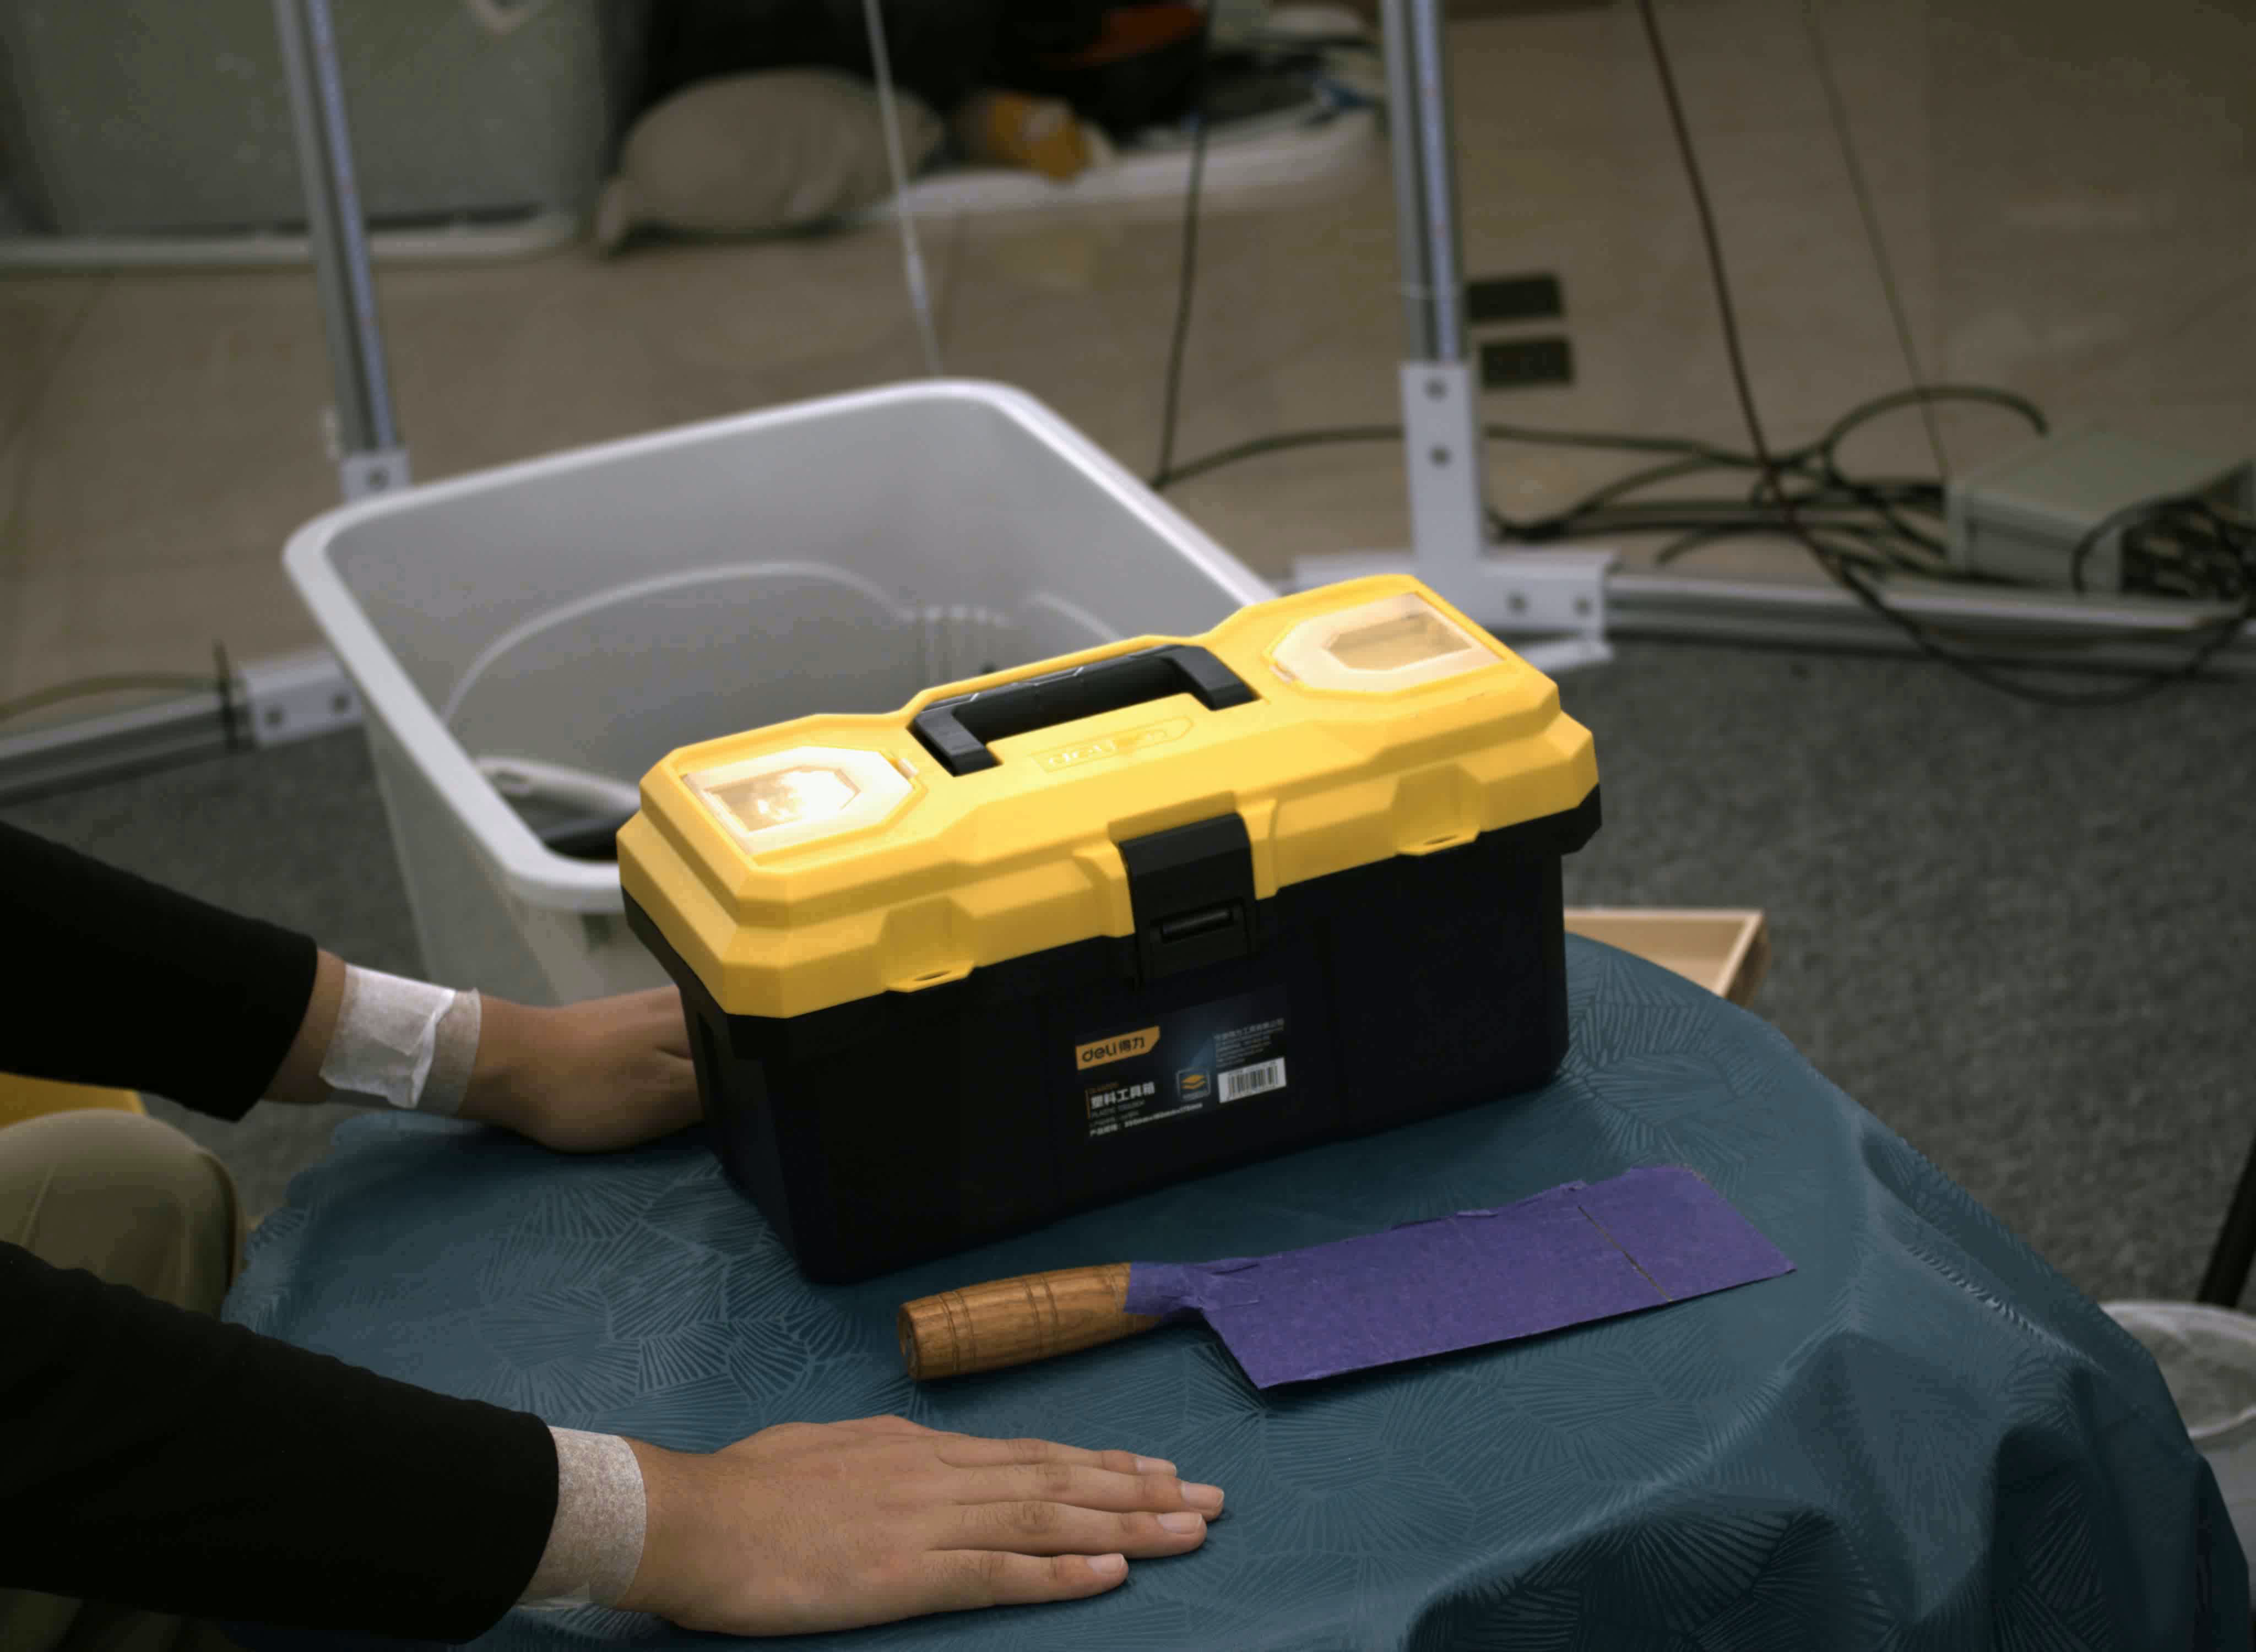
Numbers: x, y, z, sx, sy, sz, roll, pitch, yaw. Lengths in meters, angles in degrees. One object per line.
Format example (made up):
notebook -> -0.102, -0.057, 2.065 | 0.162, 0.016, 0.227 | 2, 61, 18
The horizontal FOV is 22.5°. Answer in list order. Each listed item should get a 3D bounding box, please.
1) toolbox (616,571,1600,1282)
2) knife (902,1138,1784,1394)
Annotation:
toolbox -> -0.003, 0.037, 2.160 | 0.350, 0.175, 0.179 | -15, 26, -16
knife -> 0.079, 0.166, 2.038 | 0.314, 0.033, 0.102 | -13, 26, -16
